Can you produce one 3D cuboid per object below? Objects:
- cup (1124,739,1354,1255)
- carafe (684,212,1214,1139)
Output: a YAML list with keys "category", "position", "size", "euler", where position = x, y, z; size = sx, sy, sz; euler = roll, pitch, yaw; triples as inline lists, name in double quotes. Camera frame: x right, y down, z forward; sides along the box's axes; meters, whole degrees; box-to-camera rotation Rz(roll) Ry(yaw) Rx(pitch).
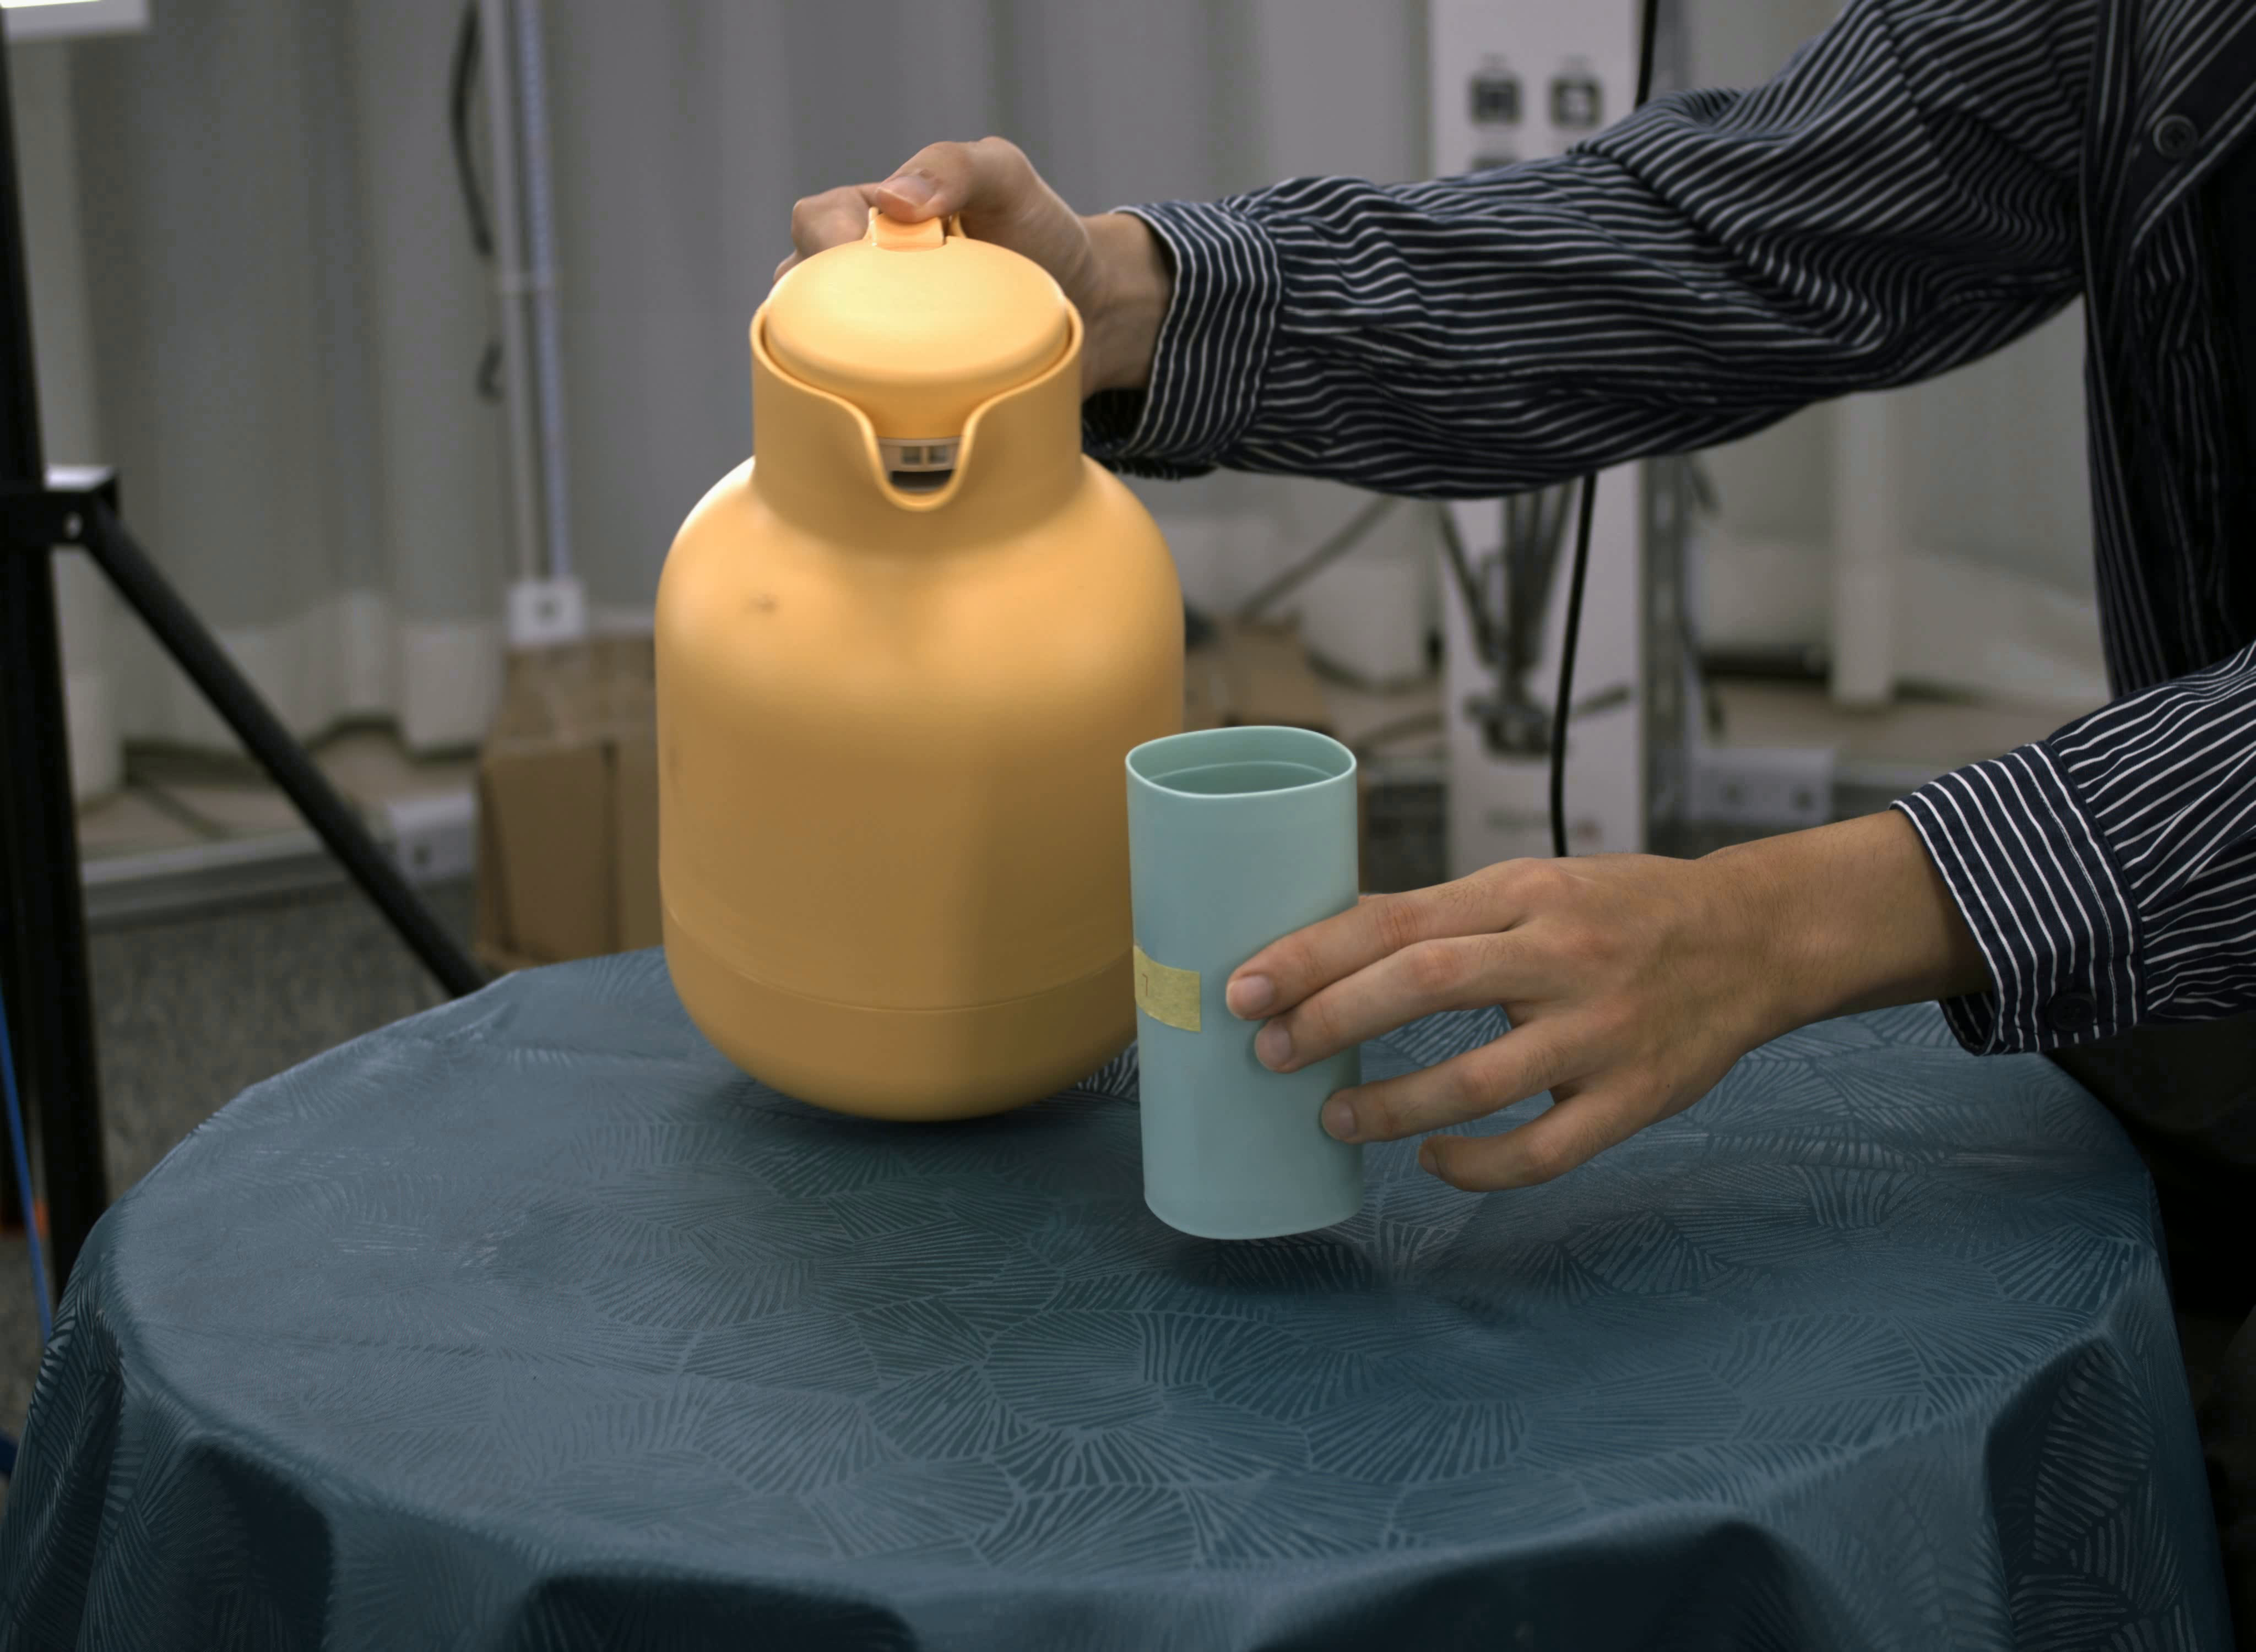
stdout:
- category: "cup"
  position: [0.033, 0.047, 1.485]
  size: [0.066, 0.132, 0.067]
  euler: [-2, 17, -1]
- category: "carafe"
  position: [-0.054, -0.055, 1.623]
  size: [0.162, 0.259, 0.204]
  euler: [-1, 33, -3]
